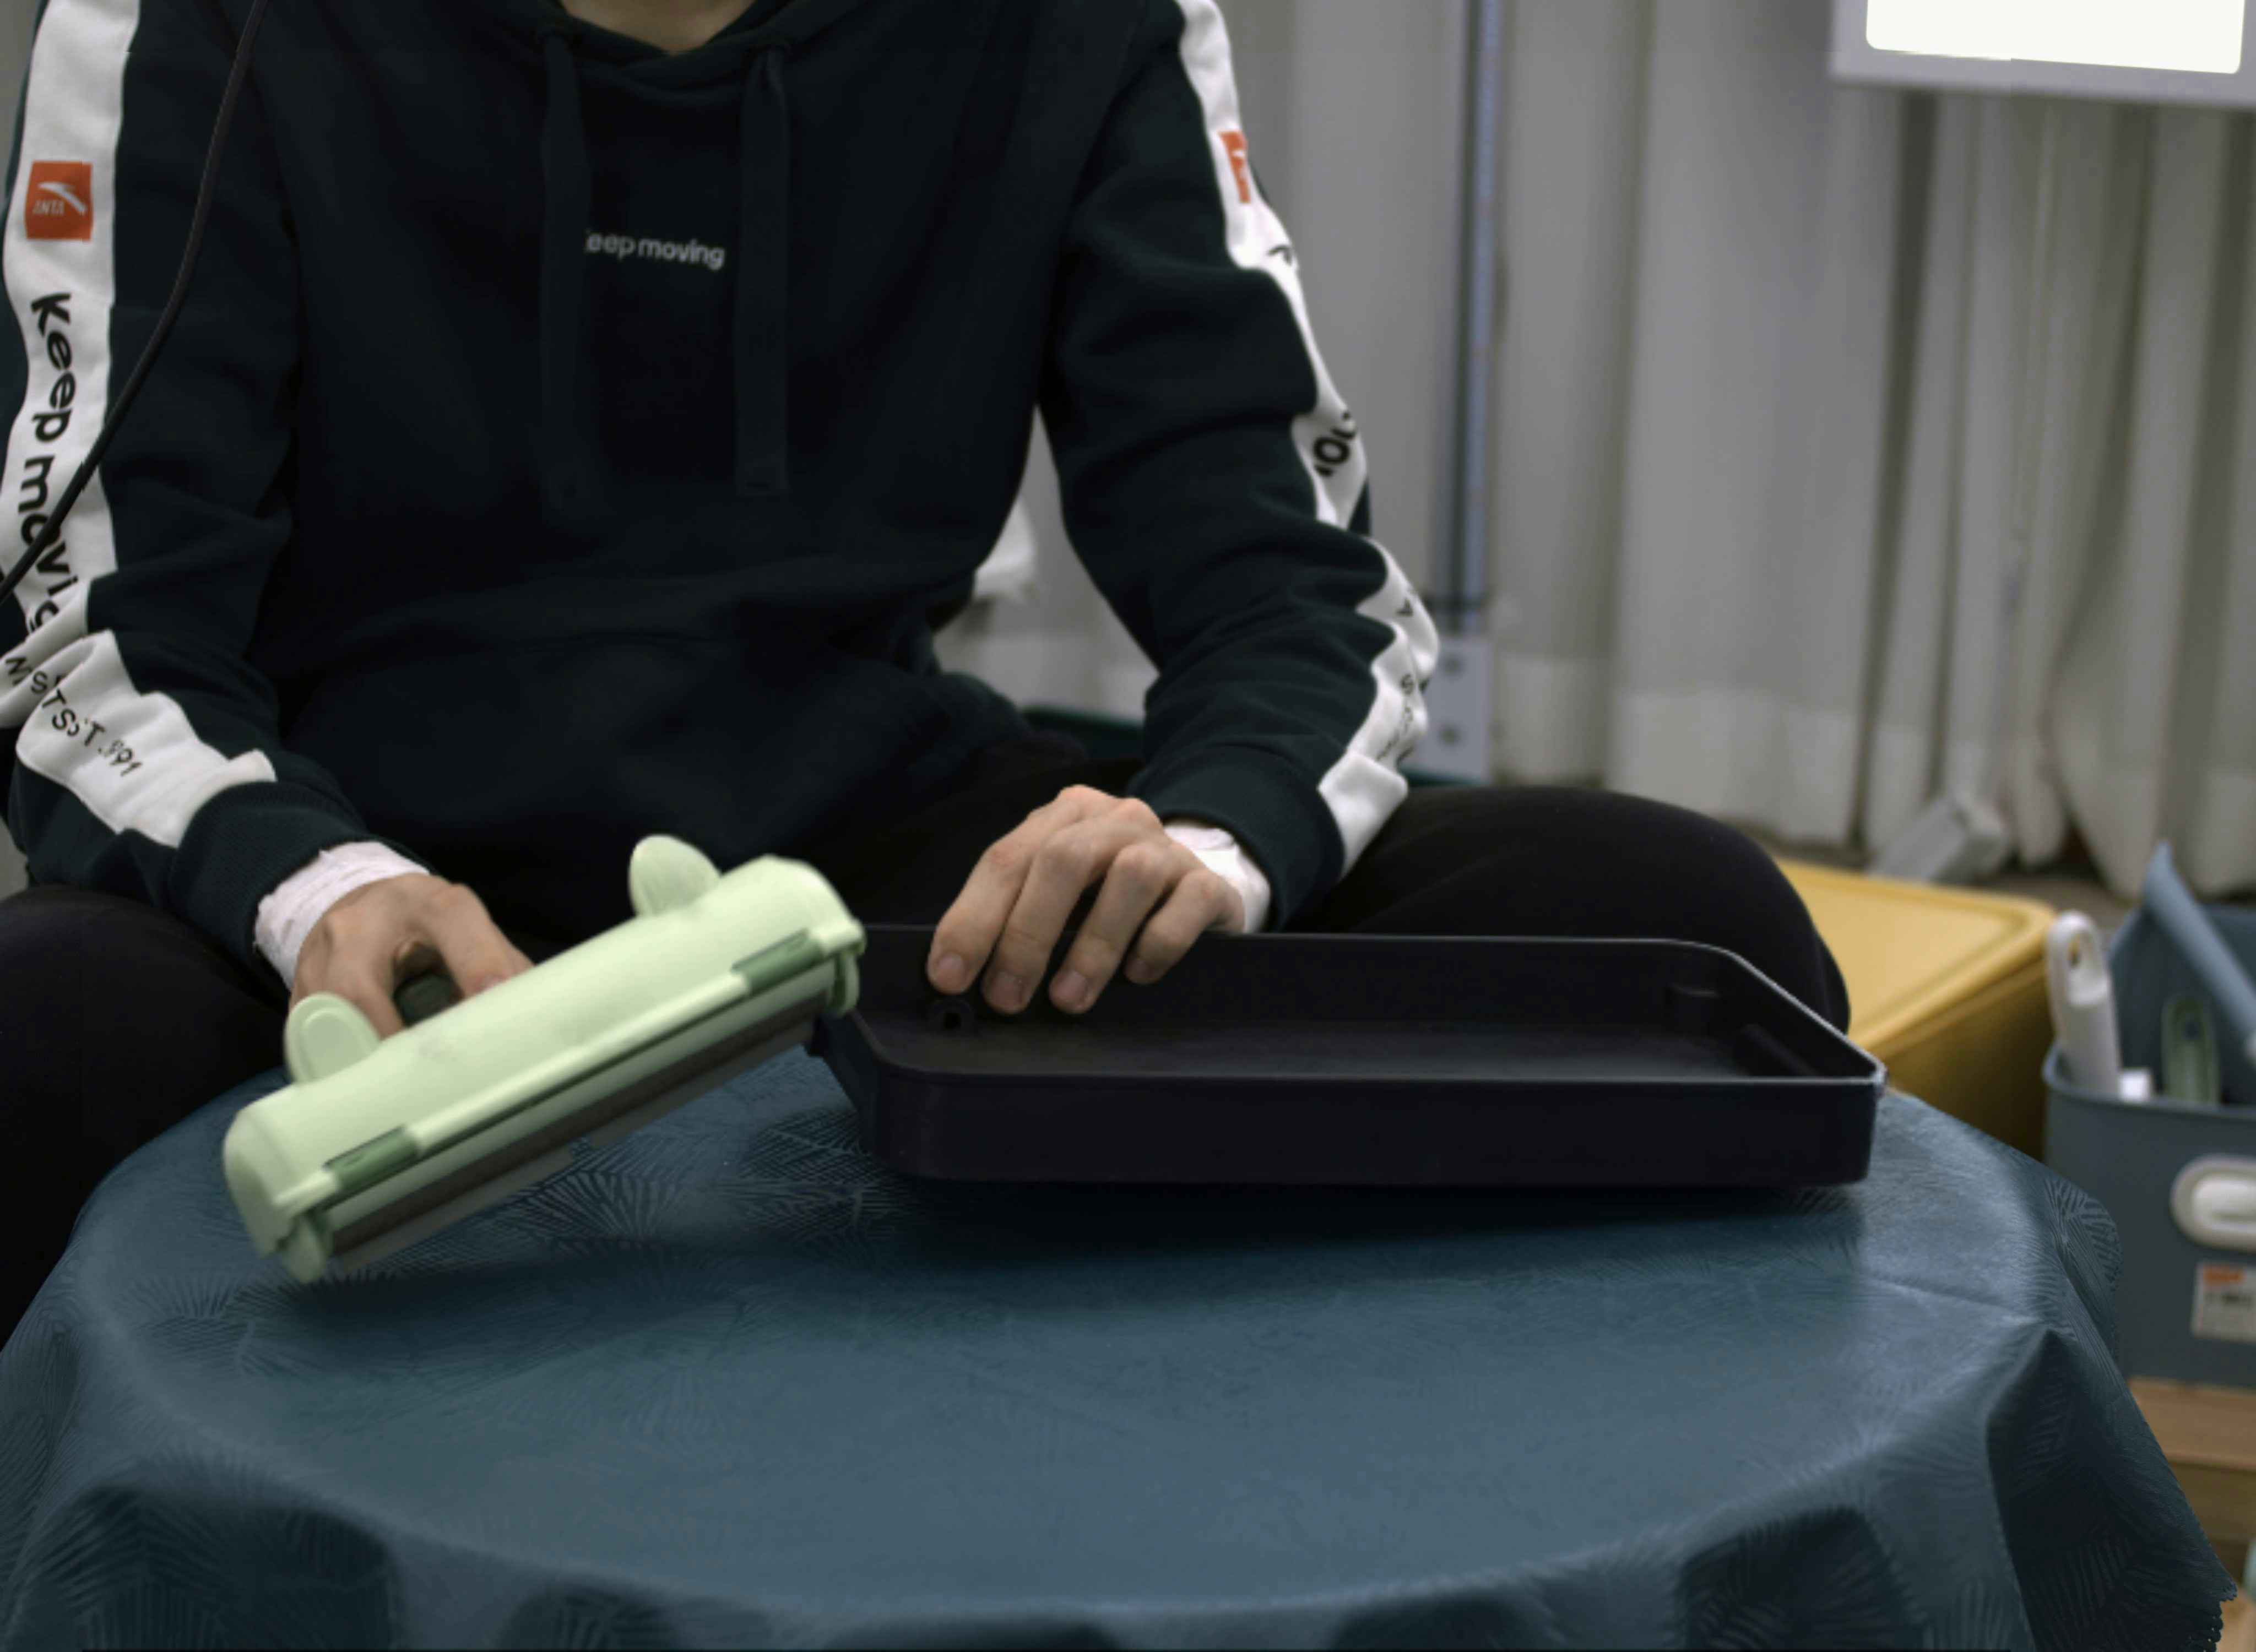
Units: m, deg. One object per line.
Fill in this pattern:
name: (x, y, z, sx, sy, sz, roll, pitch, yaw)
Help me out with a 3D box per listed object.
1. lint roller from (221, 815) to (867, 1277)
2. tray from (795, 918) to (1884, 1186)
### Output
lint roller: (-0.199, 0.049, 1.585, 0.199, 0.083, 0.181, -27, 25, -23)
tray: (0.061, 0.070, 1.645, 0.318, 0.037, 0.183, 2, 12, -13)
